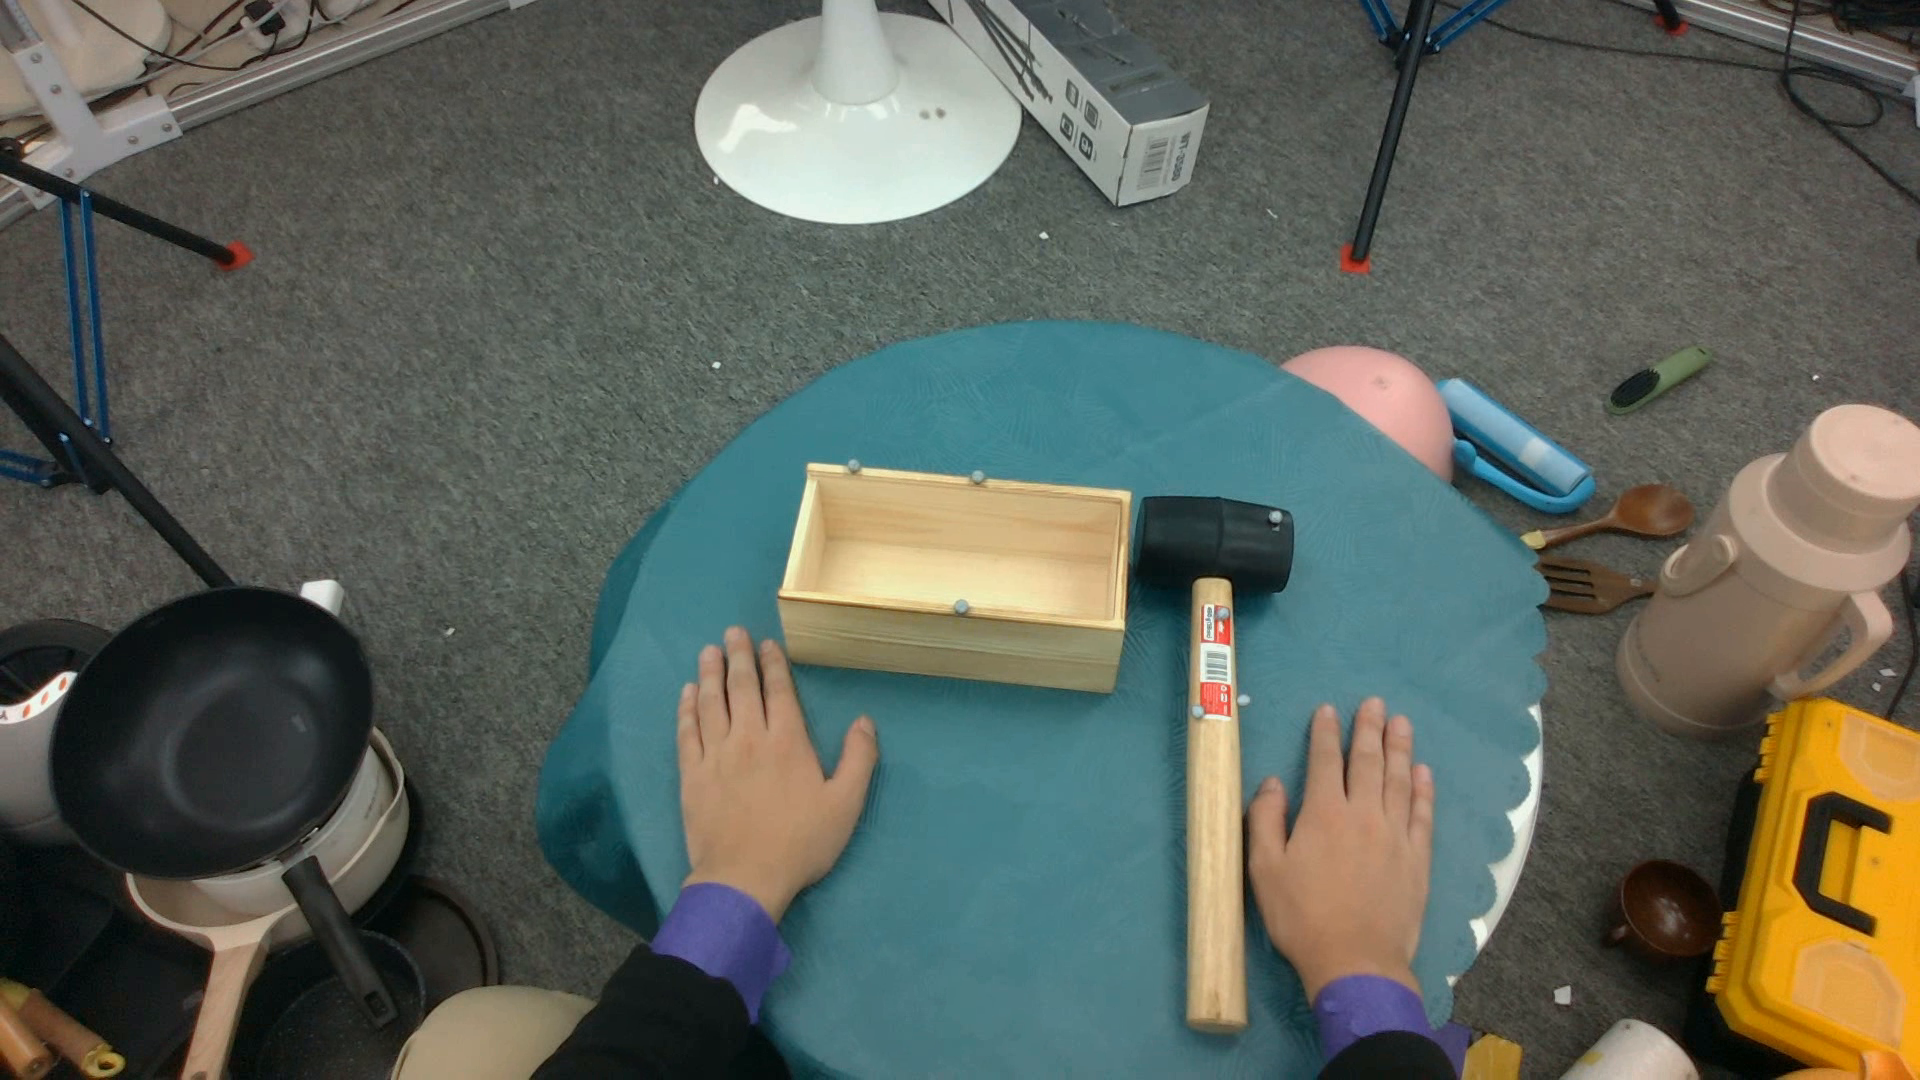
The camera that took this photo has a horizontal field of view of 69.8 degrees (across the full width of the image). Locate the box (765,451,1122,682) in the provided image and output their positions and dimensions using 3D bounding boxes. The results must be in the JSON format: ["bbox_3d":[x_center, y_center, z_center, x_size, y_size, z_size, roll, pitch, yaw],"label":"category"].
[{"bbox_3d":[-0.007,0.017,0.881,0.211,0.080,0.108,5,56,3],"label":"box"}]

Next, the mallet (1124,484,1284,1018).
[{"bbox_3d":[0.147,0.109,0.830,0.102,0.064,0.340,4,56,4],"label":"mallet"}]
